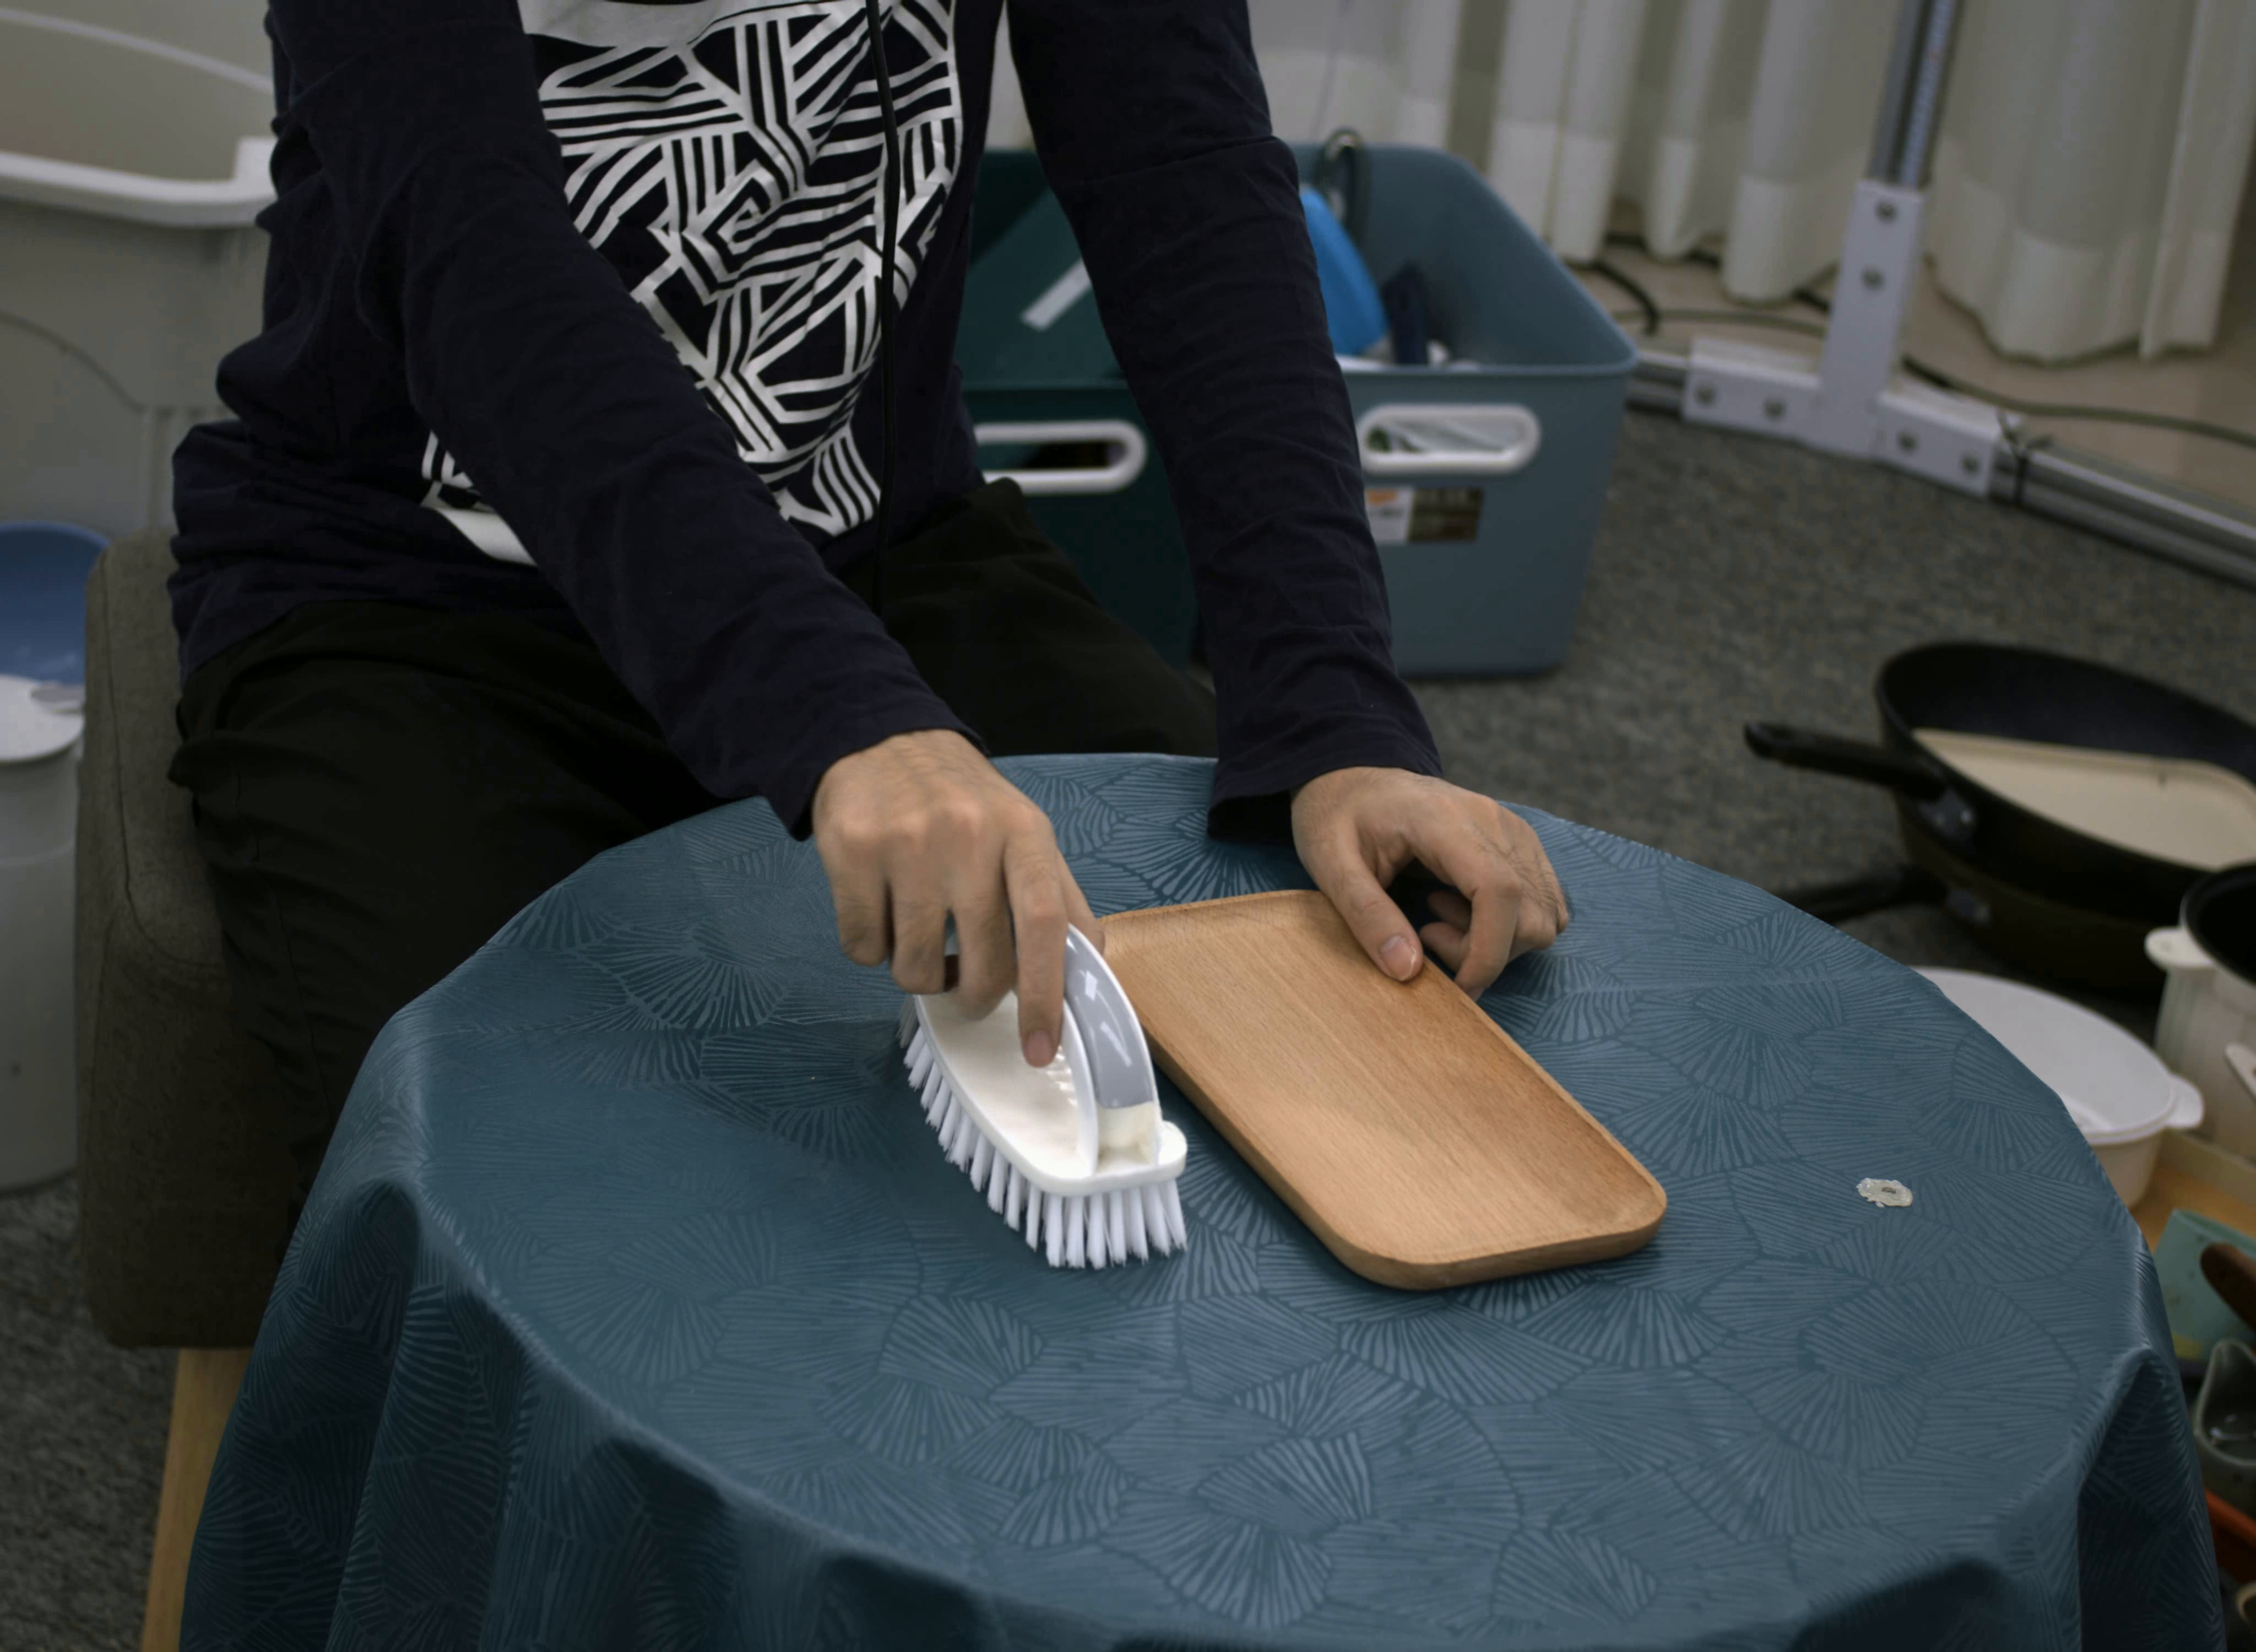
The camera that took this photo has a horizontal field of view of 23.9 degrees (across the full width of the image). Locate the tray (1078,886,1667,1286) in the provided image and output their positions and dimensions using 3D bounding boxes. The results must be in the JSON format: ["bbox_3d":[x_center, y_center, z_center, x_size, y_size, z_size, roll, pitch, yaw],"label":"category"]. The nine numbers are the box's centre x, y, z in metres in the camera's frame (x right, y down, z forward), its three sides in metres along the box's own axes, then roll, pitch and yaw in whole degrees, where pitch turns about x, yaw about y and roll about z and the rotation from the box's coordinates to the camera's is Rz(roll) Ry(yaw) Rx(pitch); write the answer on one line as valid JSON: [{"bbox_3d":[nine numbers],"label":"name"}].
[{"bbox_3d":[0.082,0.089,1.875,0.129,0.023,0.253,-5,28,-26],"label":"tray"}]

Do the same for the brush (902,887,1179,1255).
[{"bbox_3d":[-0.037,0.068,1.808,0.061,0.094,0.177,-6,28,-24],"label":"brush"}]
